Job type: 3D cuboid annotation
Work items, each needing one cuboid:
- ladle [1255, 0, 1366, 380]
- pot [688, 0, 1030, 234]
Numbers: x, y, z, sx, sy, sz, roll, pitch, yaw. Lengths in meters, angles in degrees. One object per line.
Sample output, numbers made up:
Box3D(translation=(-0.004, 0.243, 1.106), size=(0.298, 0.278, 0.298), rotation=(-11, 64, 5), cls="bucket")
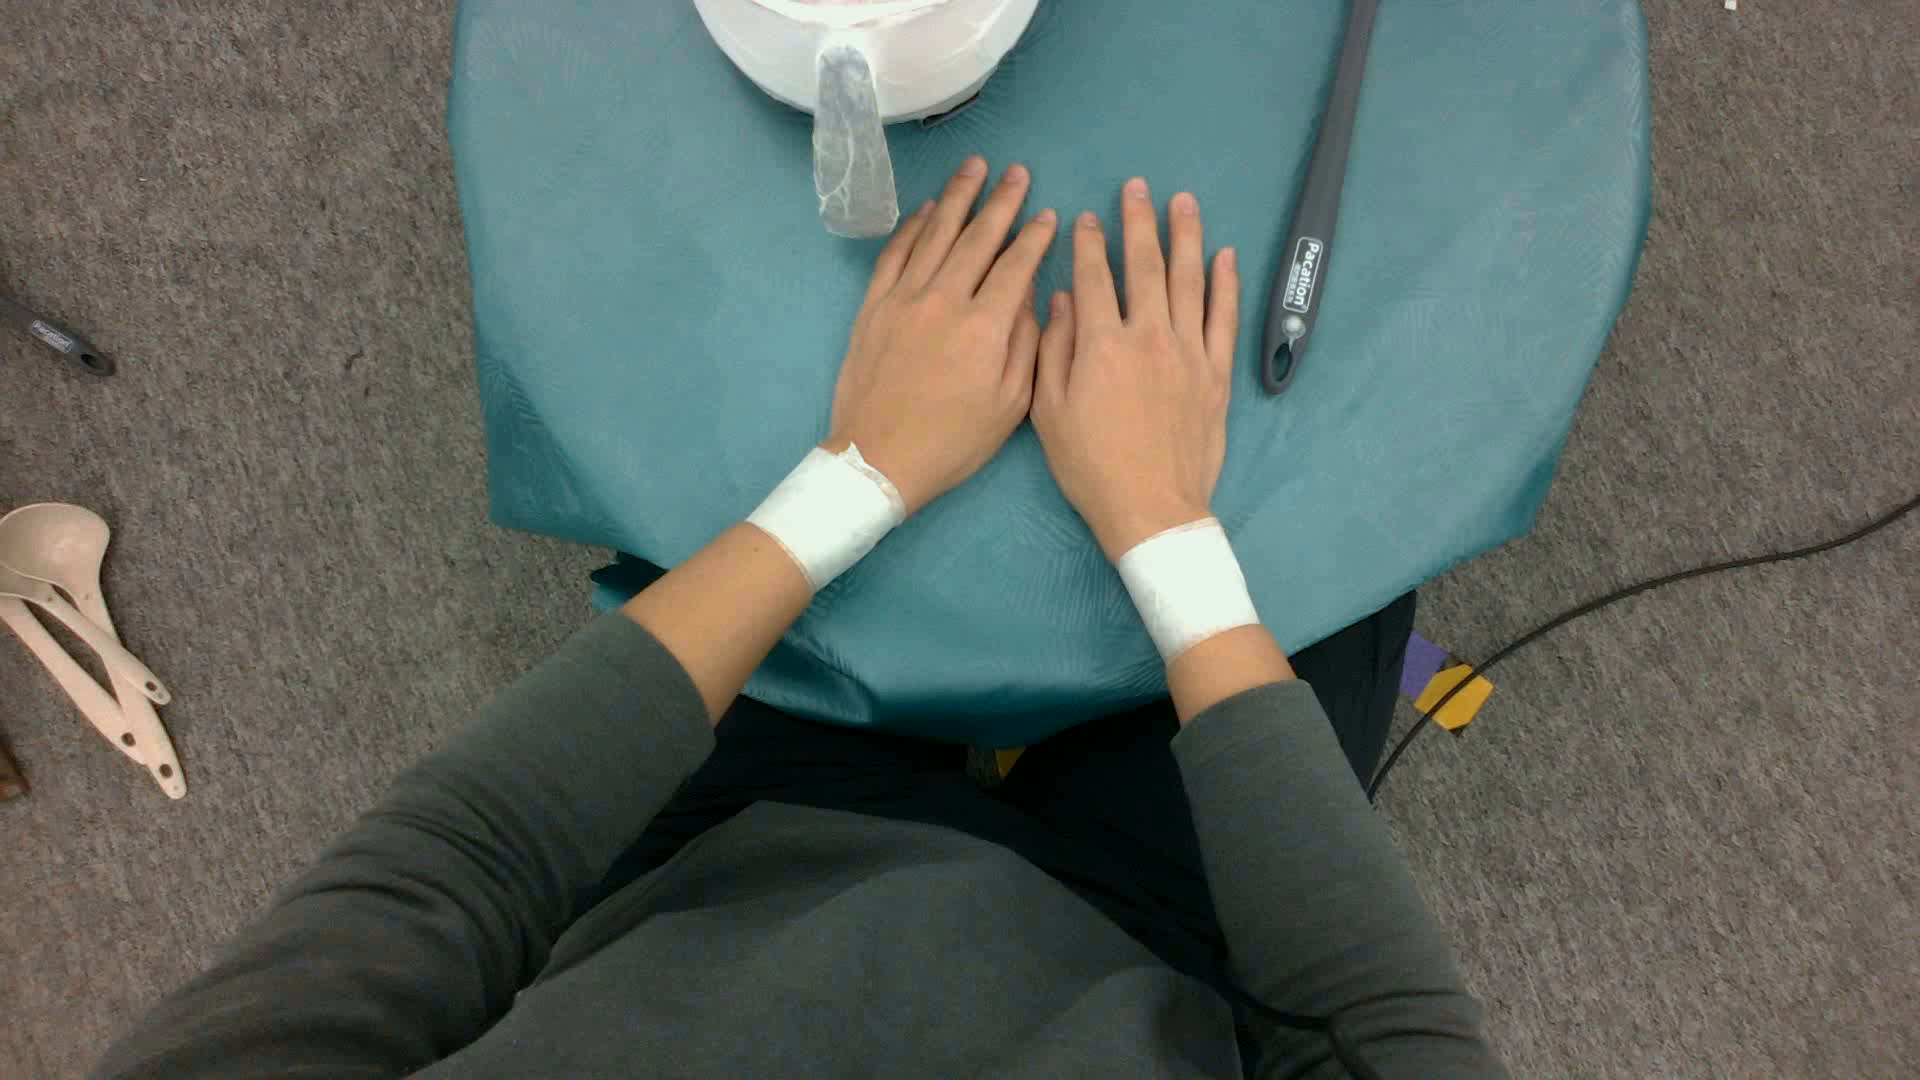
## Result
Box3D(translation=(0.187, -0.232, 0.664), size=(0.086, 0.064, 0.314), rotation=(13, 86, 5), cls="ladle")
Box3D(translation=(-0.048, -0.265, 0.626), size=(0.179, 0.136, 0.234), rotation=(0, 86, 0), cls="pot")
